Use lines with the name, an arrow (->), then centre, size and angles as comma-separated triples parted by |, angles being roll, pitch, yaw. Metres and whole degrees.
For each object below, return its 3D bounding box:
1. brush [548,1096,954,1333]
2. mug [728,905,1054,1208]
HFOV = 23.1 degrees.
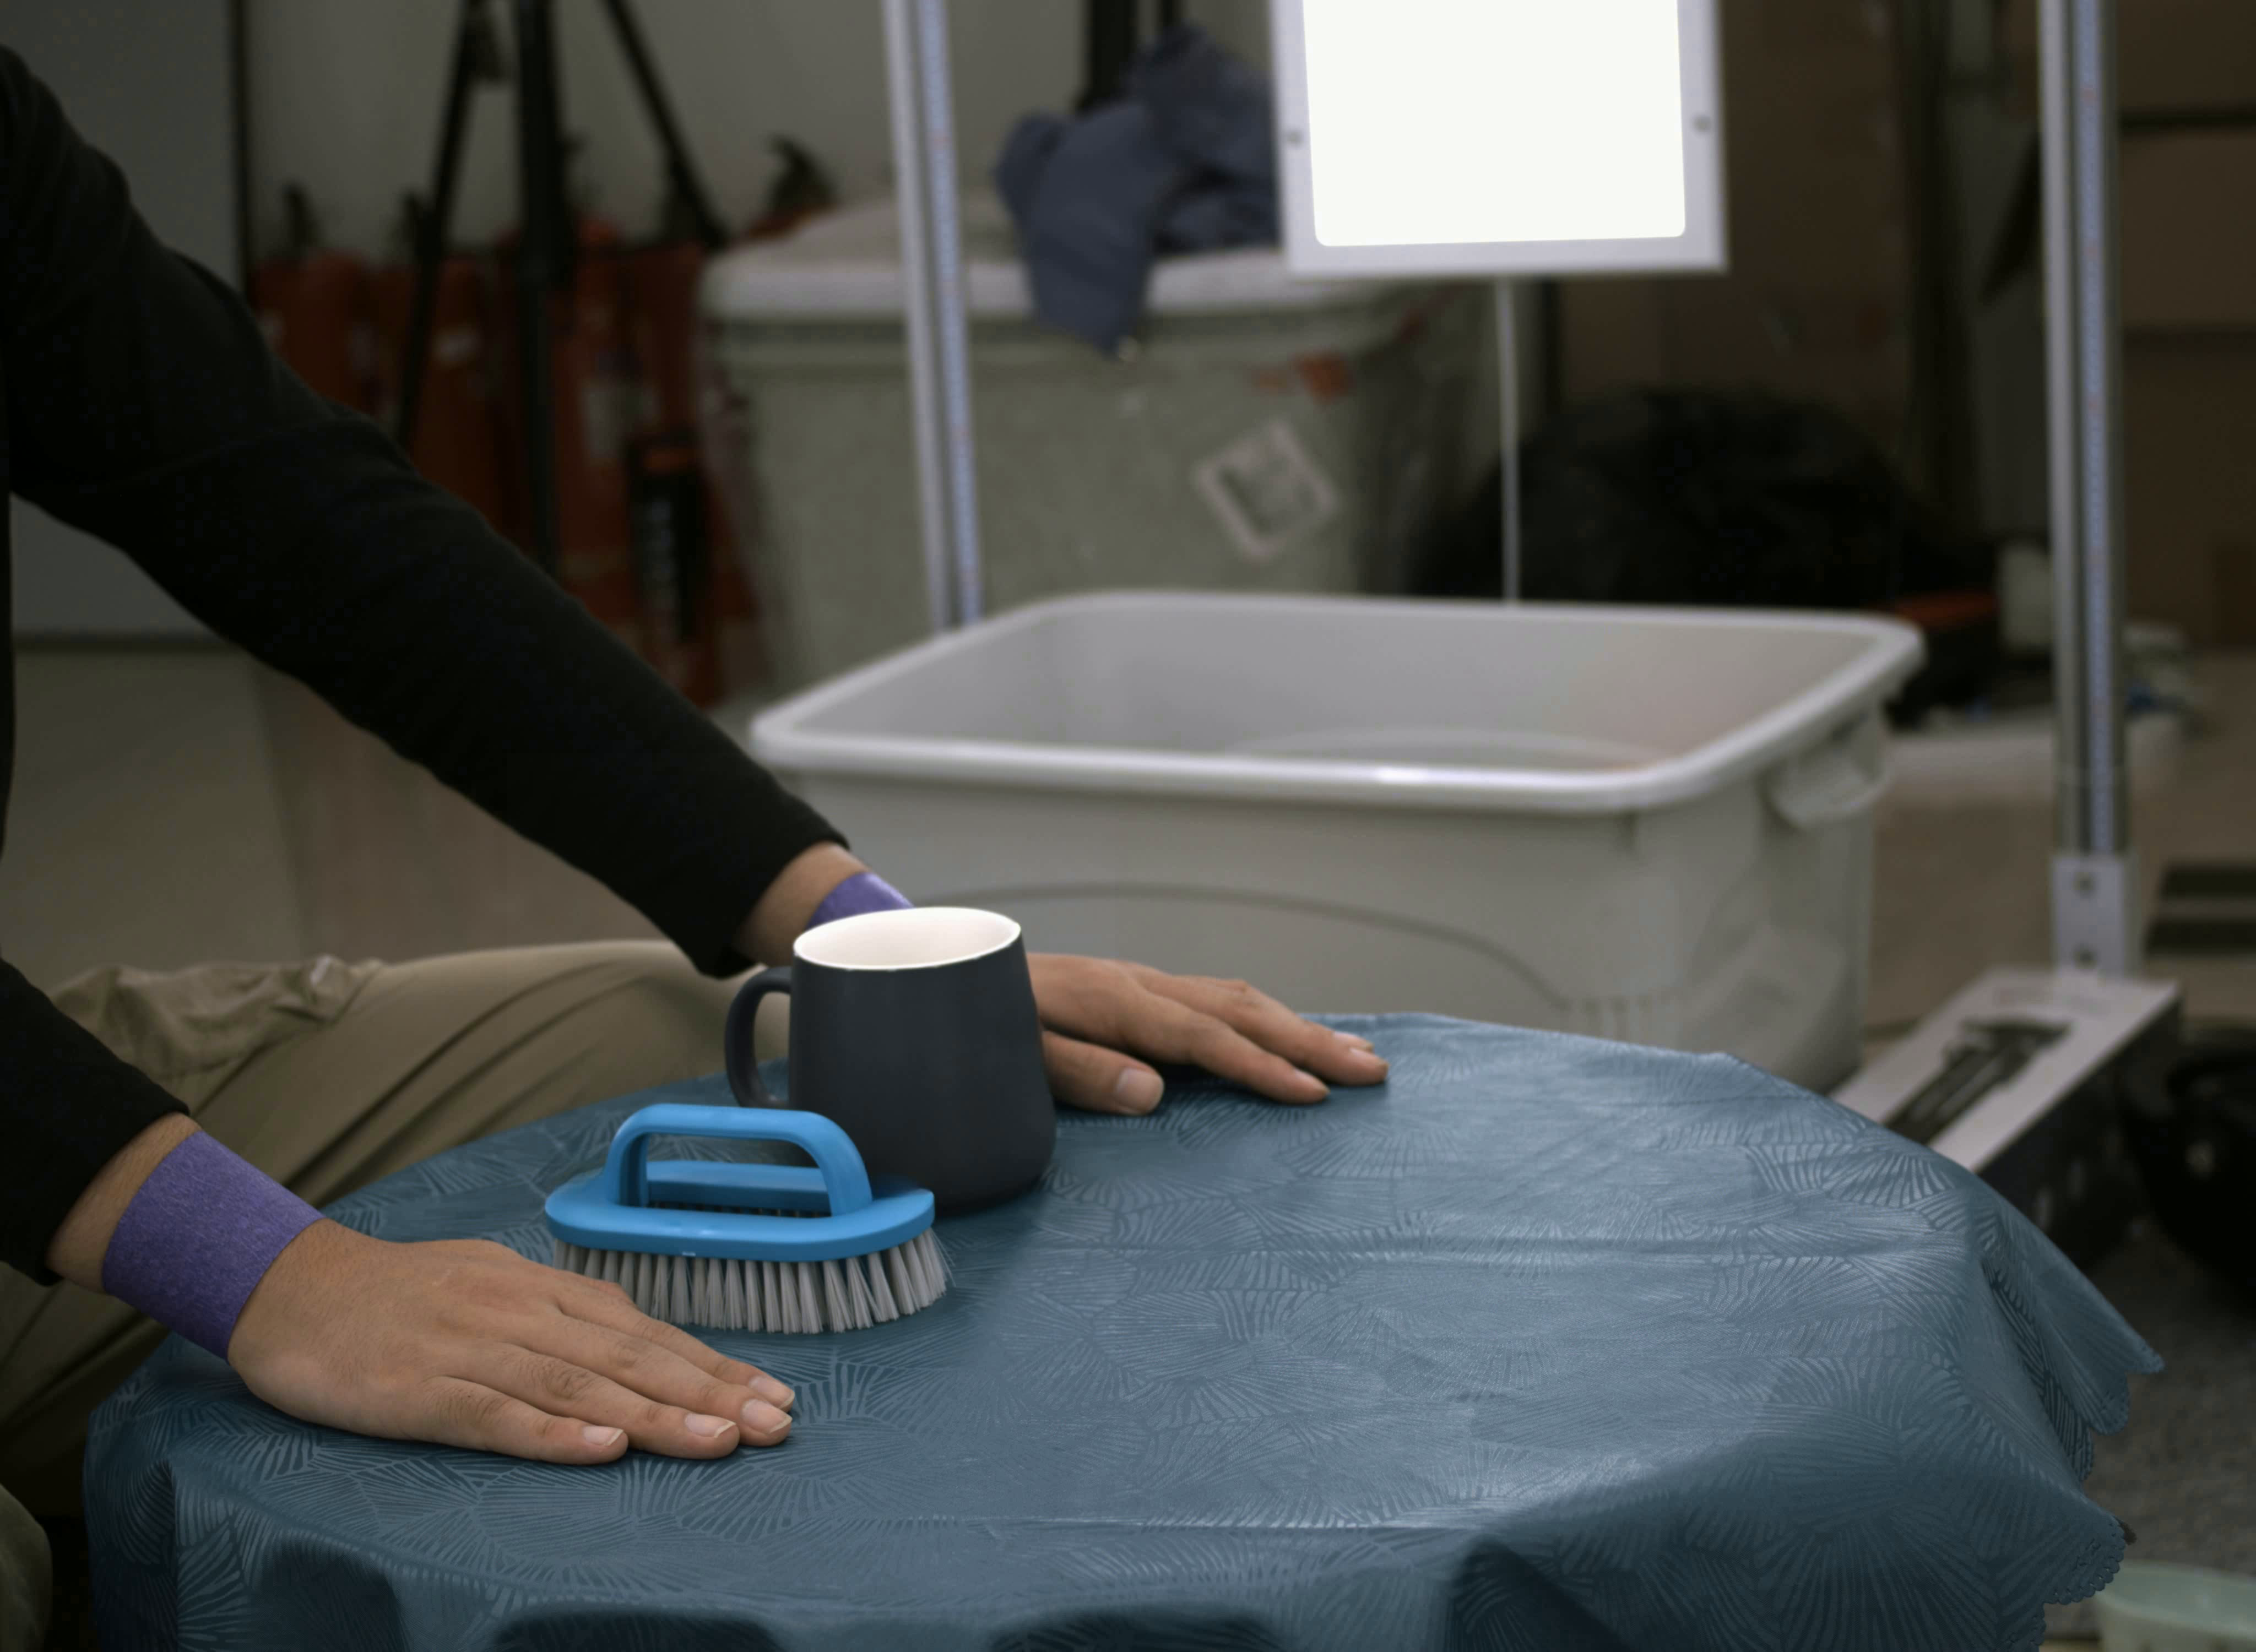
brush -> -0.129, 0.122, 1.825 | 0.144, 0.064, 0.082 | 1, 20, 28
mug -> -0.086, 0.079, 1.924 | 0.125, 0.090, 0.091 | 6, 17, 32
